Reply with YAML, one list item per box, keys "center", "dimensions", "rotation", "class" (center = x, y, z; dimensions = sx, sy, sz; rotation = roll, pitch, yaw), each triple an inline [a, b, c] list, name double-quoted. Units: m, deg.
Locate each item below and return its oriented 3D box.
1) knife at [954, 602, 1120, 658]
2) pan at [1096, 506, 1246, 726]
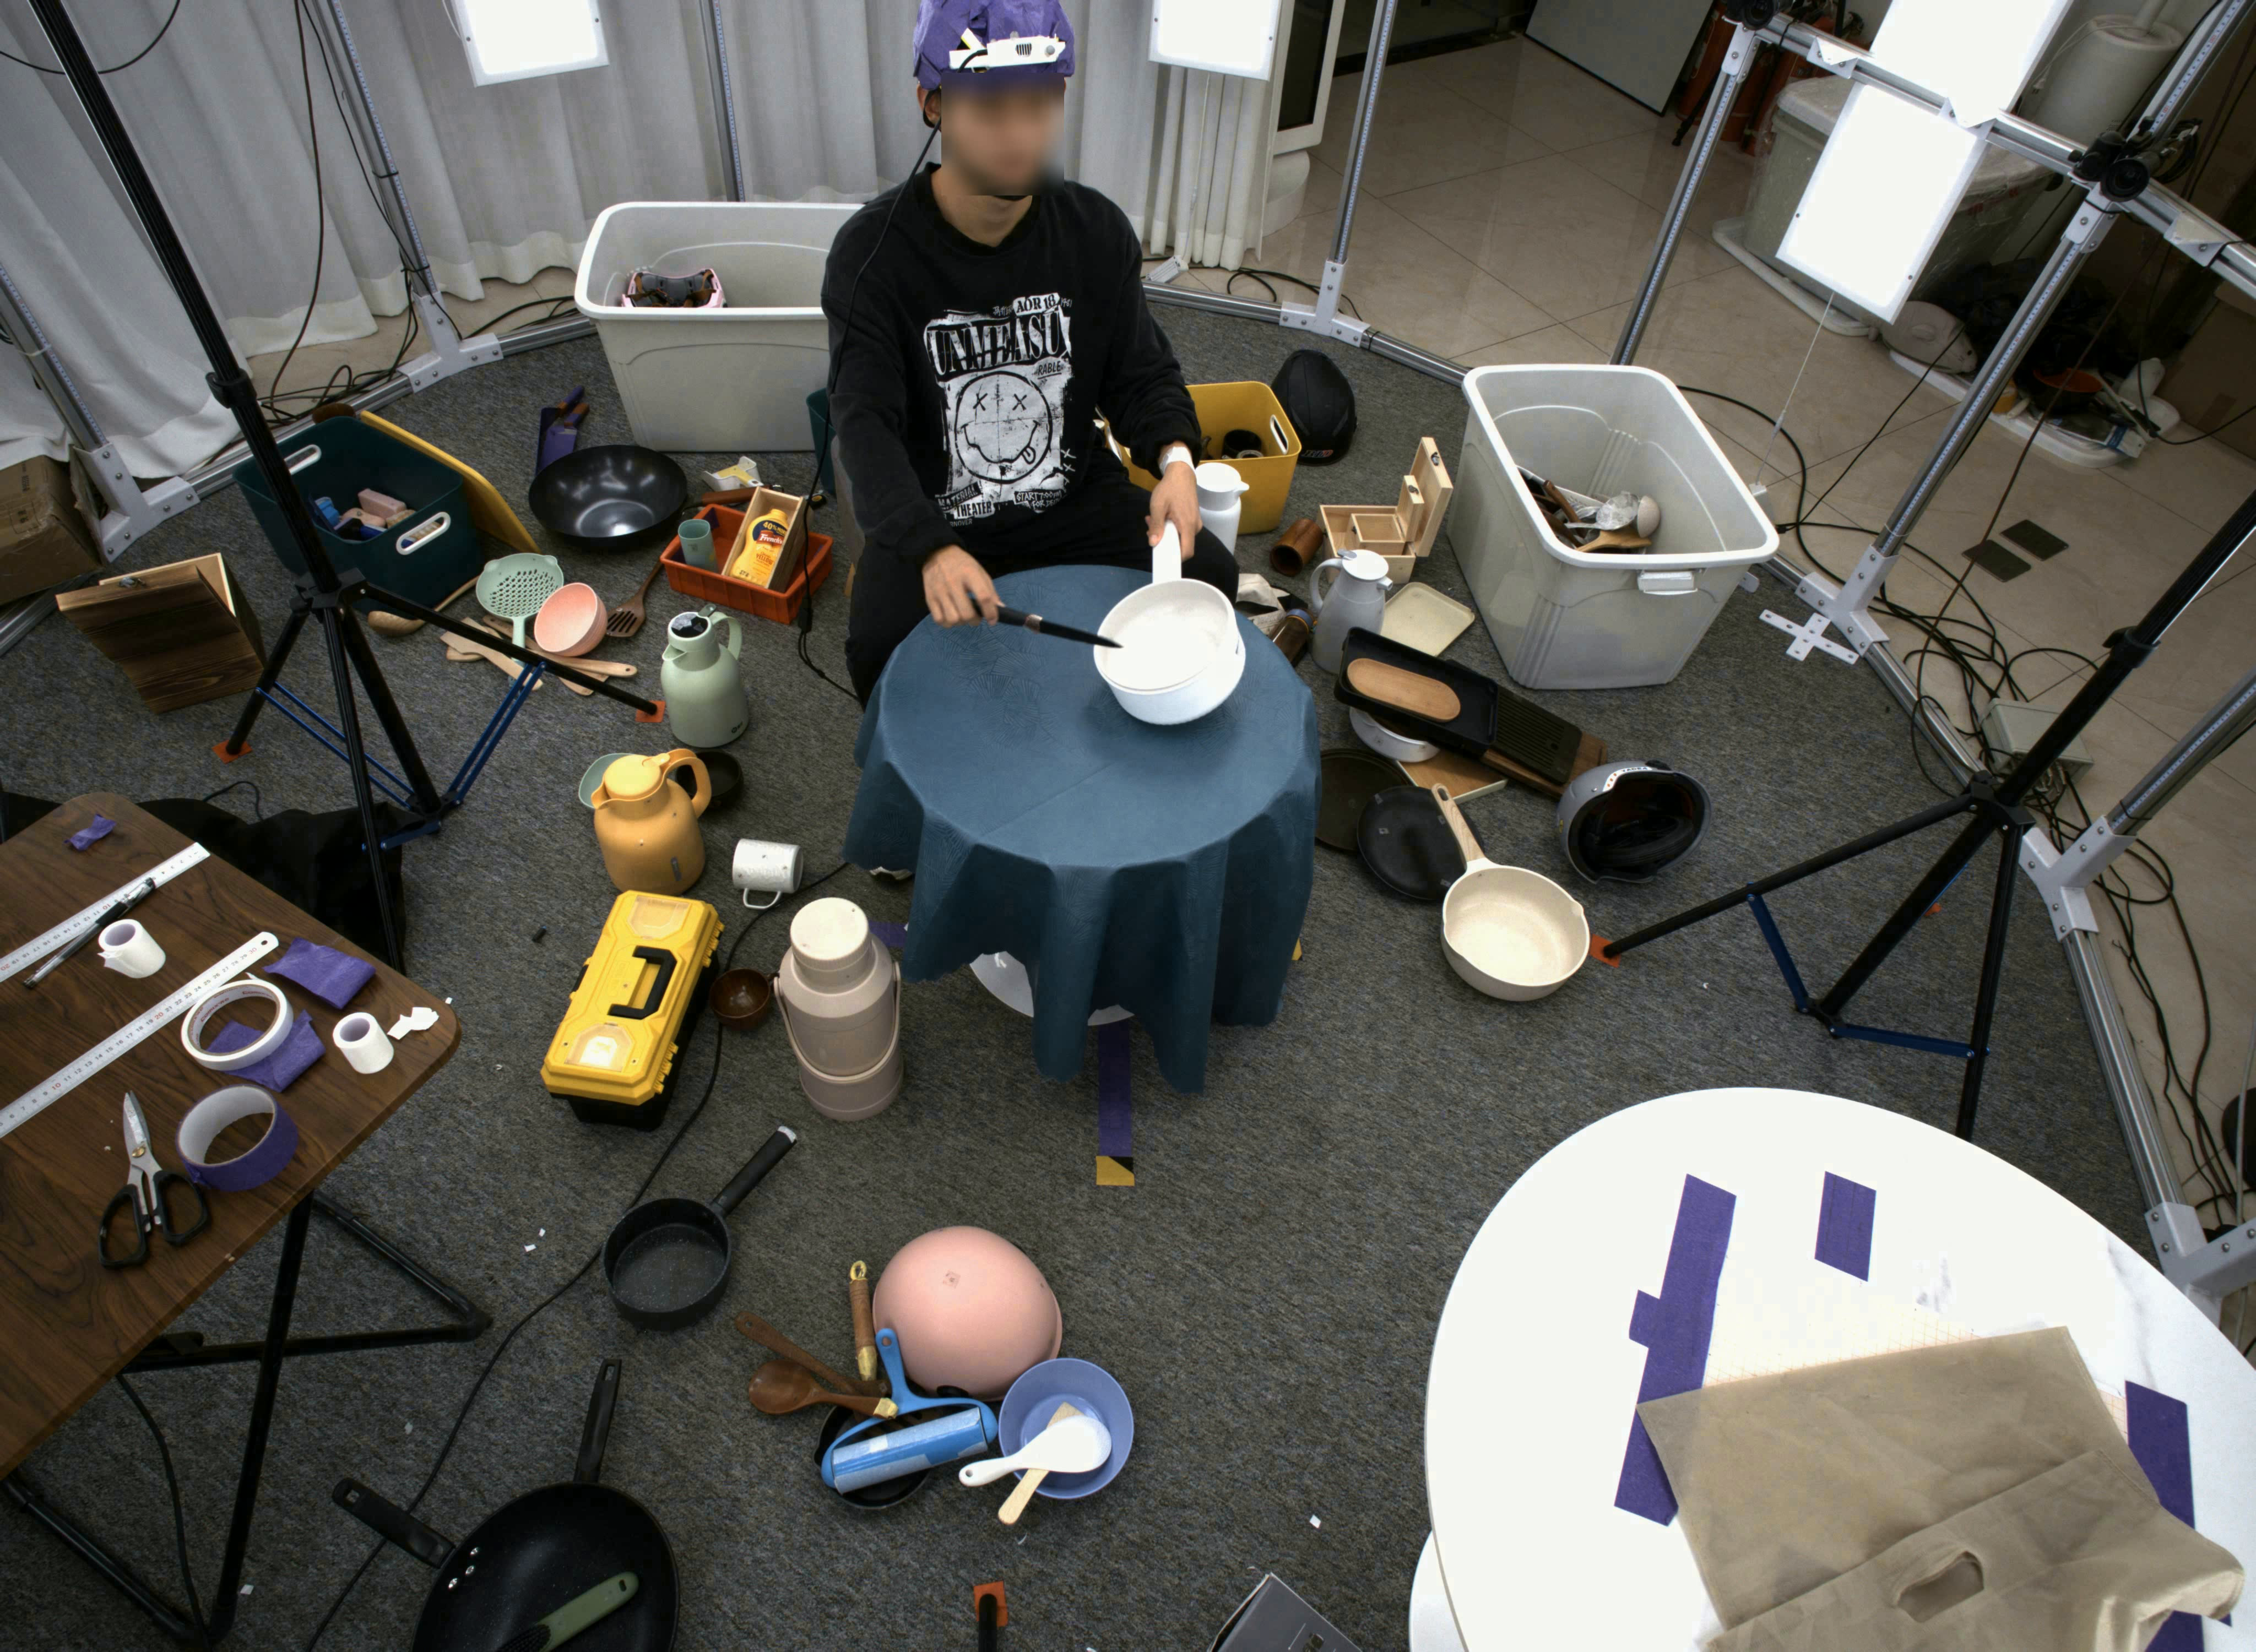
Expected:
- center: [-0.118, -0.255, 1.668]
  dimensions: [0.226, 0.025, 0.017]
  rotation: [15, 35, 6]
  class: "knife"
- center: [0.066, -0.299, 1.832]
  dimensions: [0.201, 0.100, 0.363]
  rotation: [-11, 52, 17]
  class: "pan"
